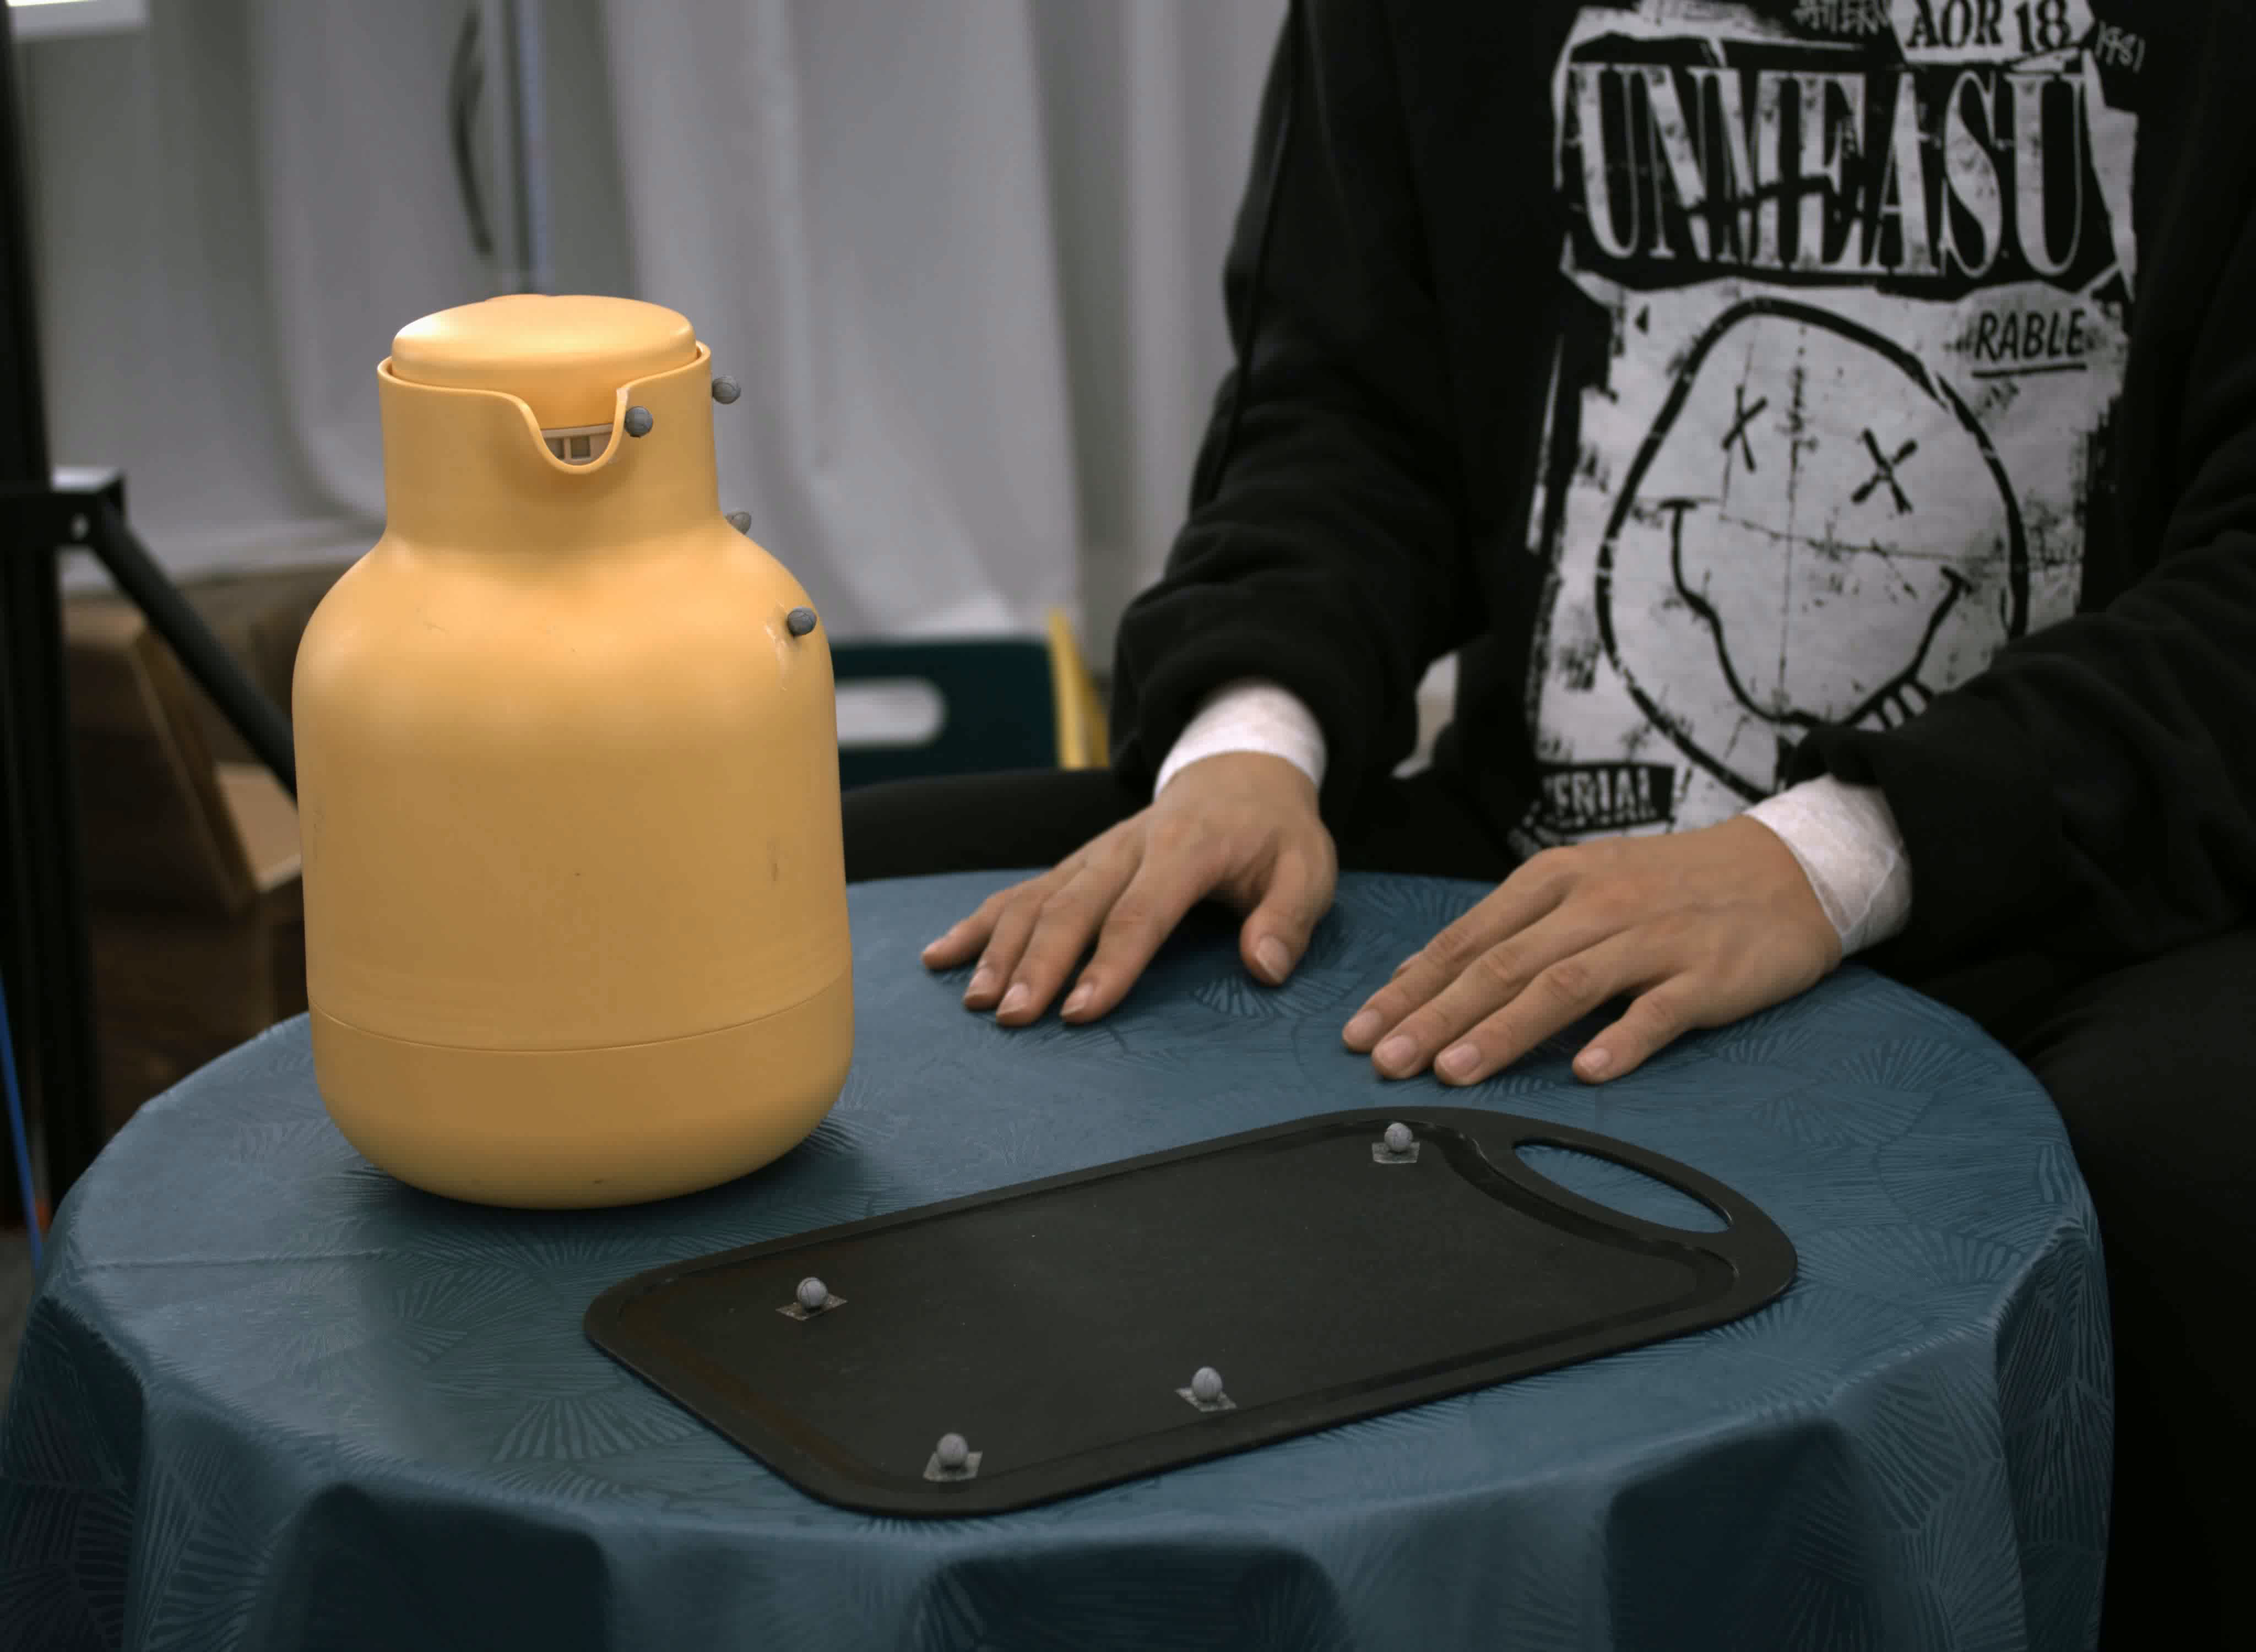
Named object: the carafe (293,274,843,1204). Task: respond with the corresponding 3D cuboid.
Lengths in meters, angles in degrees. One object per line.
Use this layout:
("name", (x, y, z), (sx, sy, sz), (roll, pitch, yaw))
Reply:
("carafe", (-0.169, -0.034, 1.602), (0.161, 0.260, 0.205), (-2, 17, -9))

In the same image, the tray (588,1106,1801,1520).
("tray", (0.025, 0.127, 1.471), (0.318, 0.010, 0.215), (-11, 18, -27))
